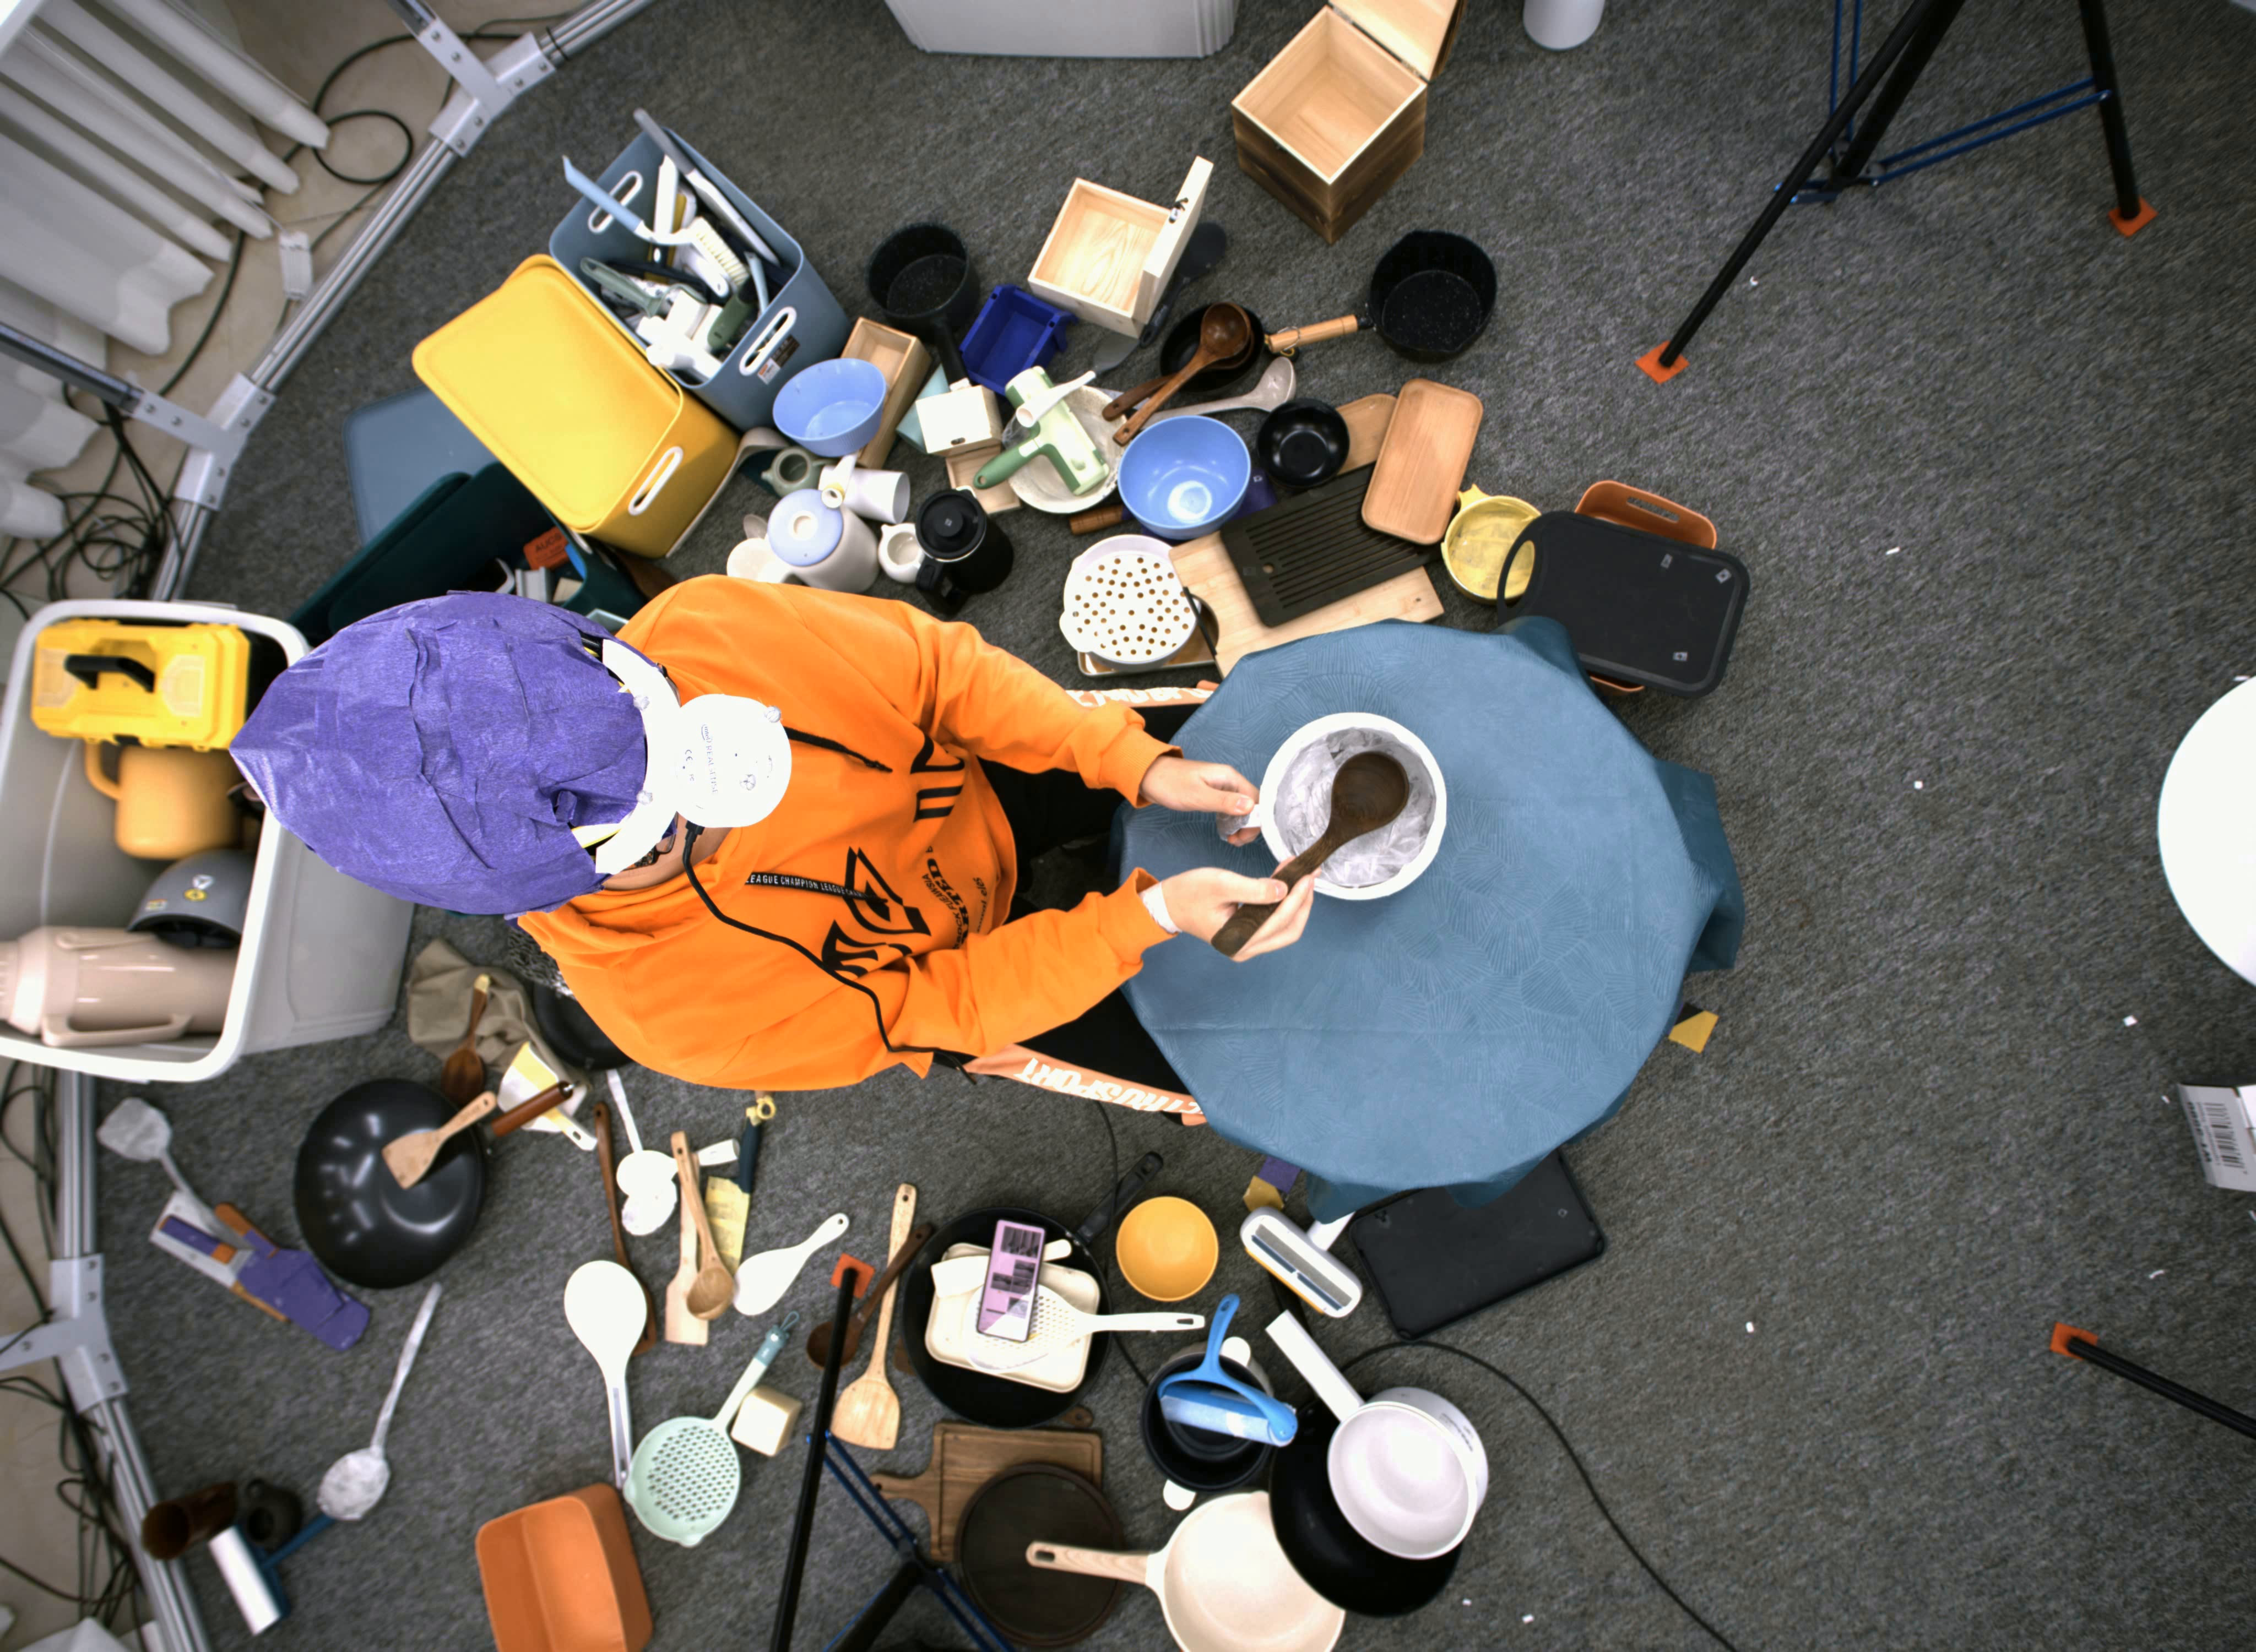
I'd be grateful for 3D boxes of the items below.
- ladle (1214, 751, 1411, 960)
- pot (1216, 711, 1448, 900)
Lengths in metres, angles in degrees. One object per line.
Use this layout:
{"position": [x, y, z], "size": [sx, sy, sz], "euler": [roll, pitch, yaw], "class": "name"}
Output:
{"position": [0.169, 0.020, 1.265], "size": [0.075, 0.073, 0.268], "euler": [31, 50, 25], "class": "ladle"}
{"position": [0.199, -0.014, 1.371], "size": [0.235, 0.136, 0.178], "euler": [-6, 86, 13], "class": "pot"}
